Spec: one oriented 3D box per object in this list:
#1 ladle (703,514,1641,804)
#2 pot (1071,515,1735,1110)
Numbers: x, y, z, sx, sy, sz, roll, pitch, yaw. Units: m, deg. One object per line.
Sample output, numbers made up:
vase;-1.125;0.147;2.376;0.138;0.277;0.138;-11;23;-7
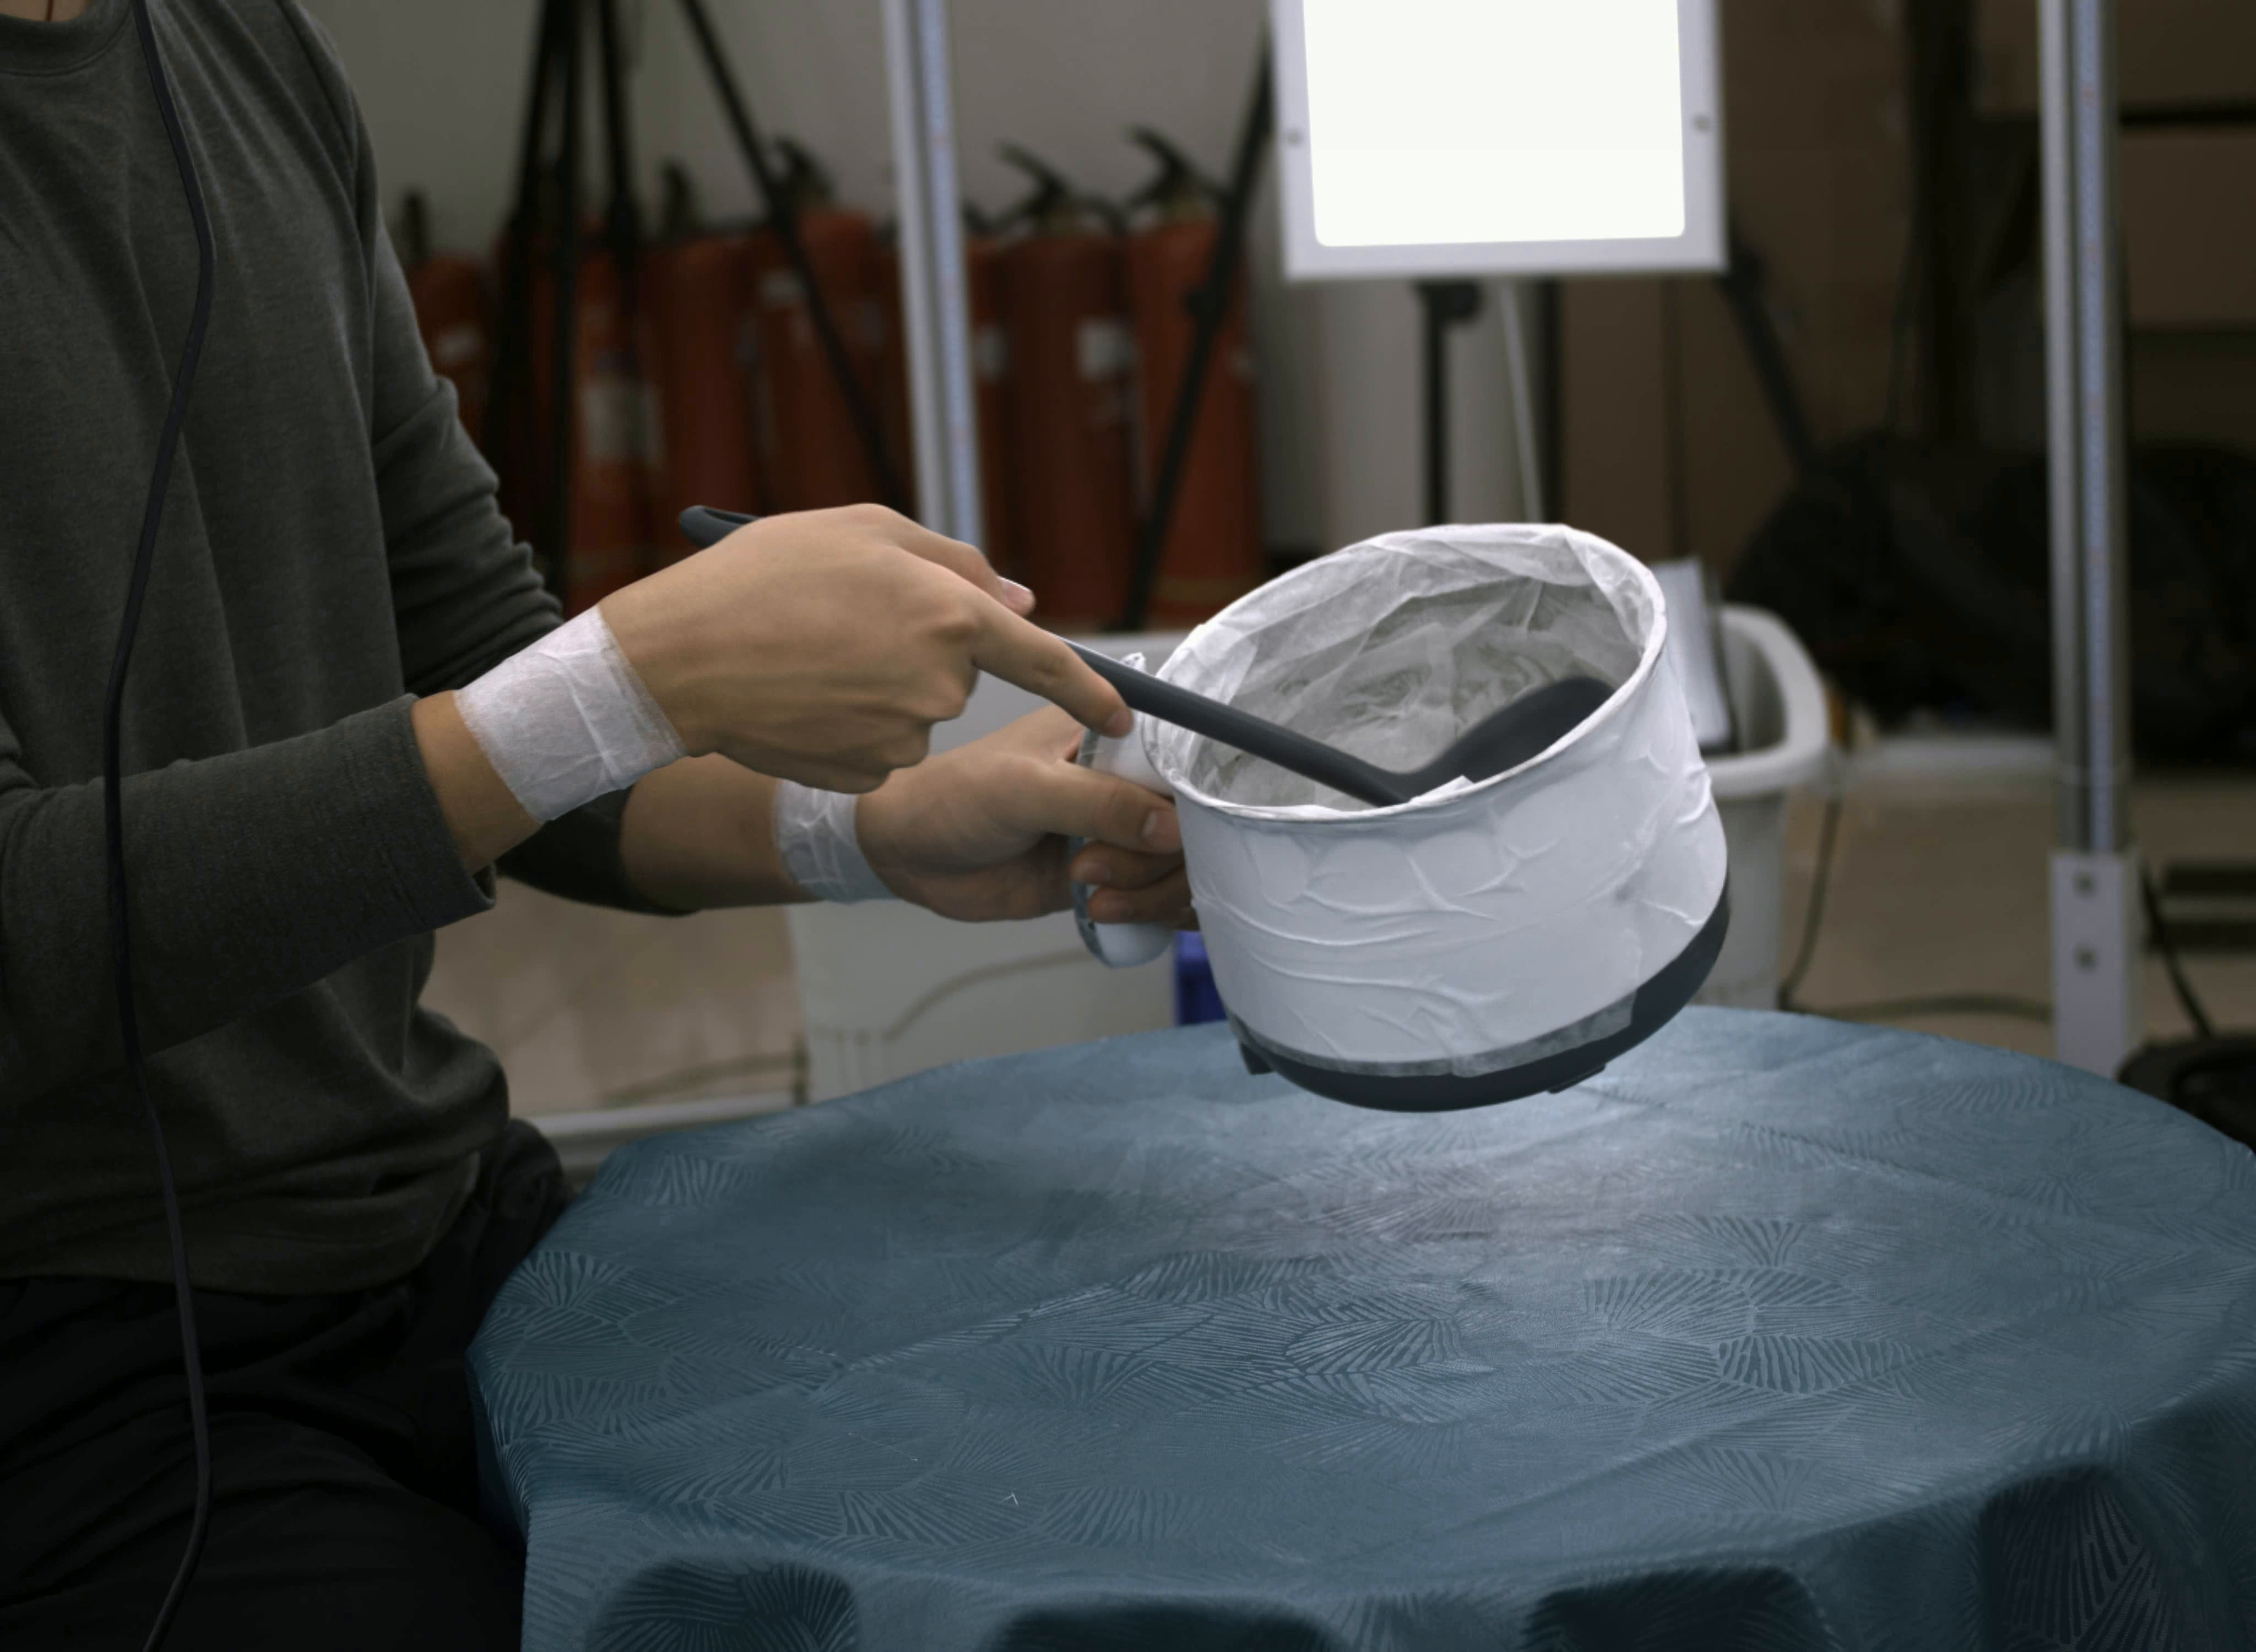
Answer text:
ladle;0.018;-0.061;1.775;0.312;0.064;0.086;21;15;-5
pot;0.082;-0.001;1.829;0.238;0.136;0.176;-1;35;28
